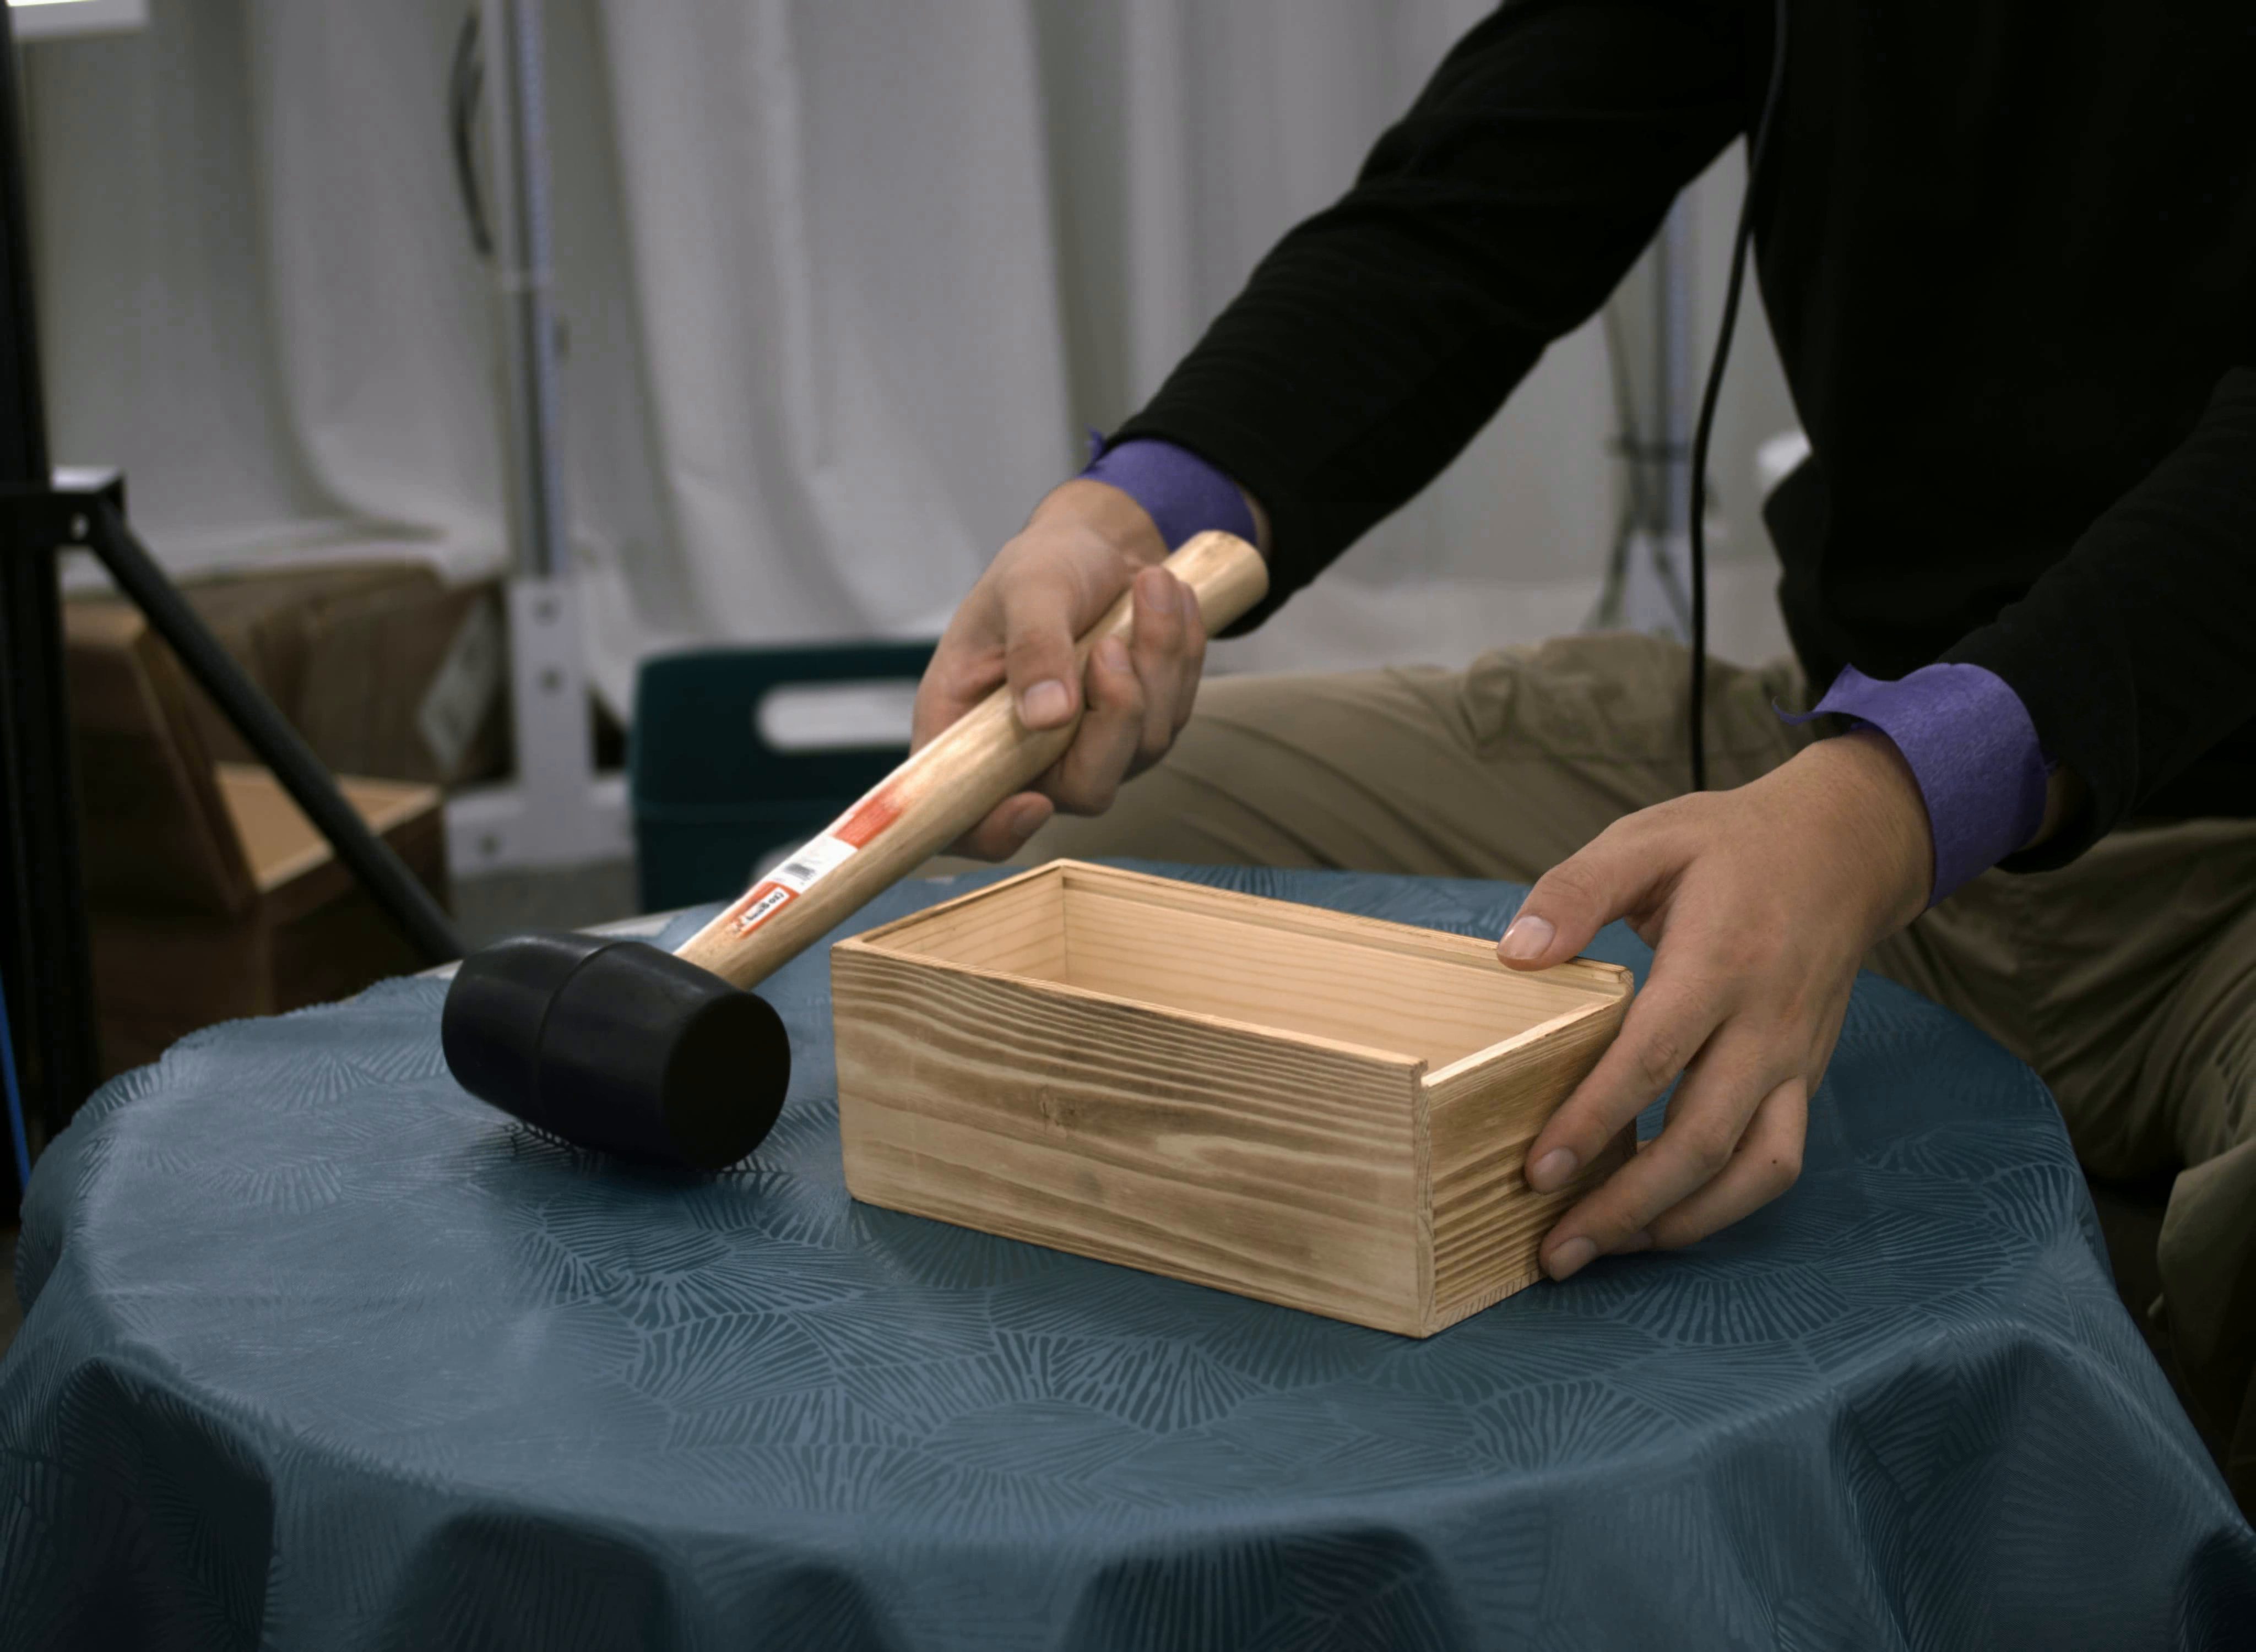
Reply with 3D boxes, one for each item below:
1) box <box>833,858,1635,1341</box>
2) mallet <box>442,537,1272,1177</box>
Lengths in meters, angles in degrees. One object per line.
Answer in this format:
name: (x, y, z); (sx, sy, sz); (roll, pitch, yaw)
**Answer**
box: (0.029, 0.075, 1.522); (0.216, 0.080, 0.105); (11, 20, 39)
mallet: (-0.071, -0.008, 1.683); (0.104, 0.063, 0.335); (16, 44, 39)
